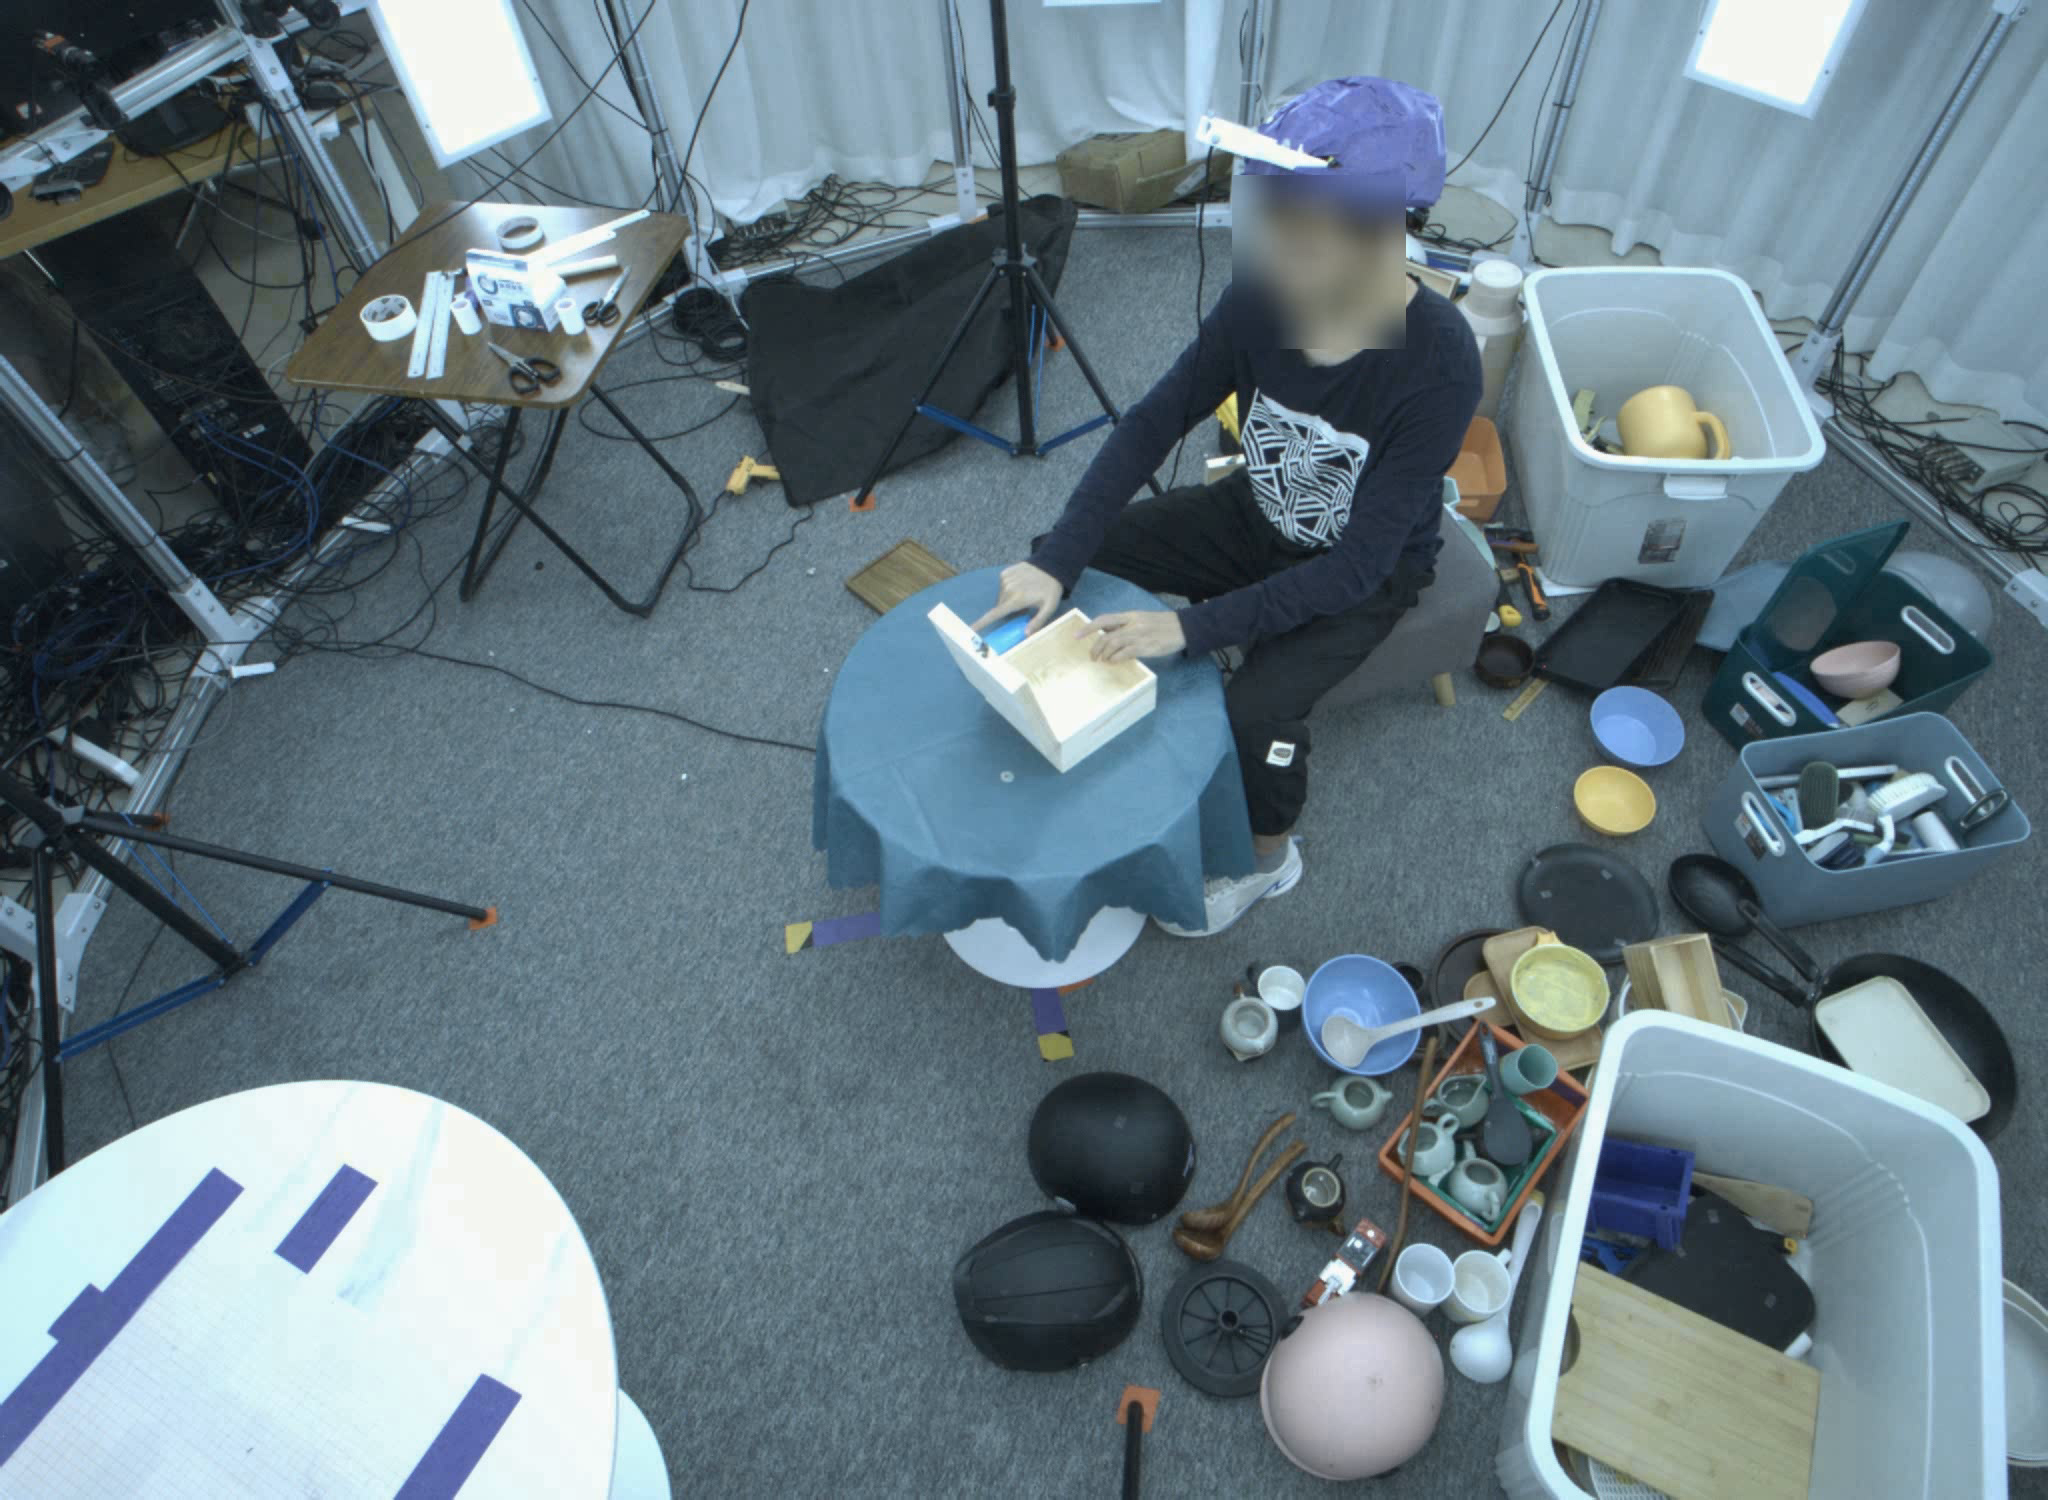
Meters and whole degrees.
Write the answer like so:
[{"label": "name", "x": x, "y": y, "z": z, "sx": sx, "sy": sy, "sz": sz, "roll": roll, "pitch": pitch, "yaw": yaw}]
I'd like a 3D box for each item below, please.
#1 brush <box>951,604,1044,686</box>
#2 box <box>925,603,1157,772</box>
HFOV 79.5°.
[{"label": "brush", "x": -0.040, "y": -0.167, "z": 1.868, "sx": 0.083, "sy": 0.056, "sz": 0.145, "roll": 40, "pitch": 69, "yaw": 16}, {"label": "box", "x": 0.034, "y": -0.125, "z": 1.712, "sx": 0.267, "sy": 0.256, "sz": 0.178, "roll": -36, "pitch": 60, "yaw": -21}]
